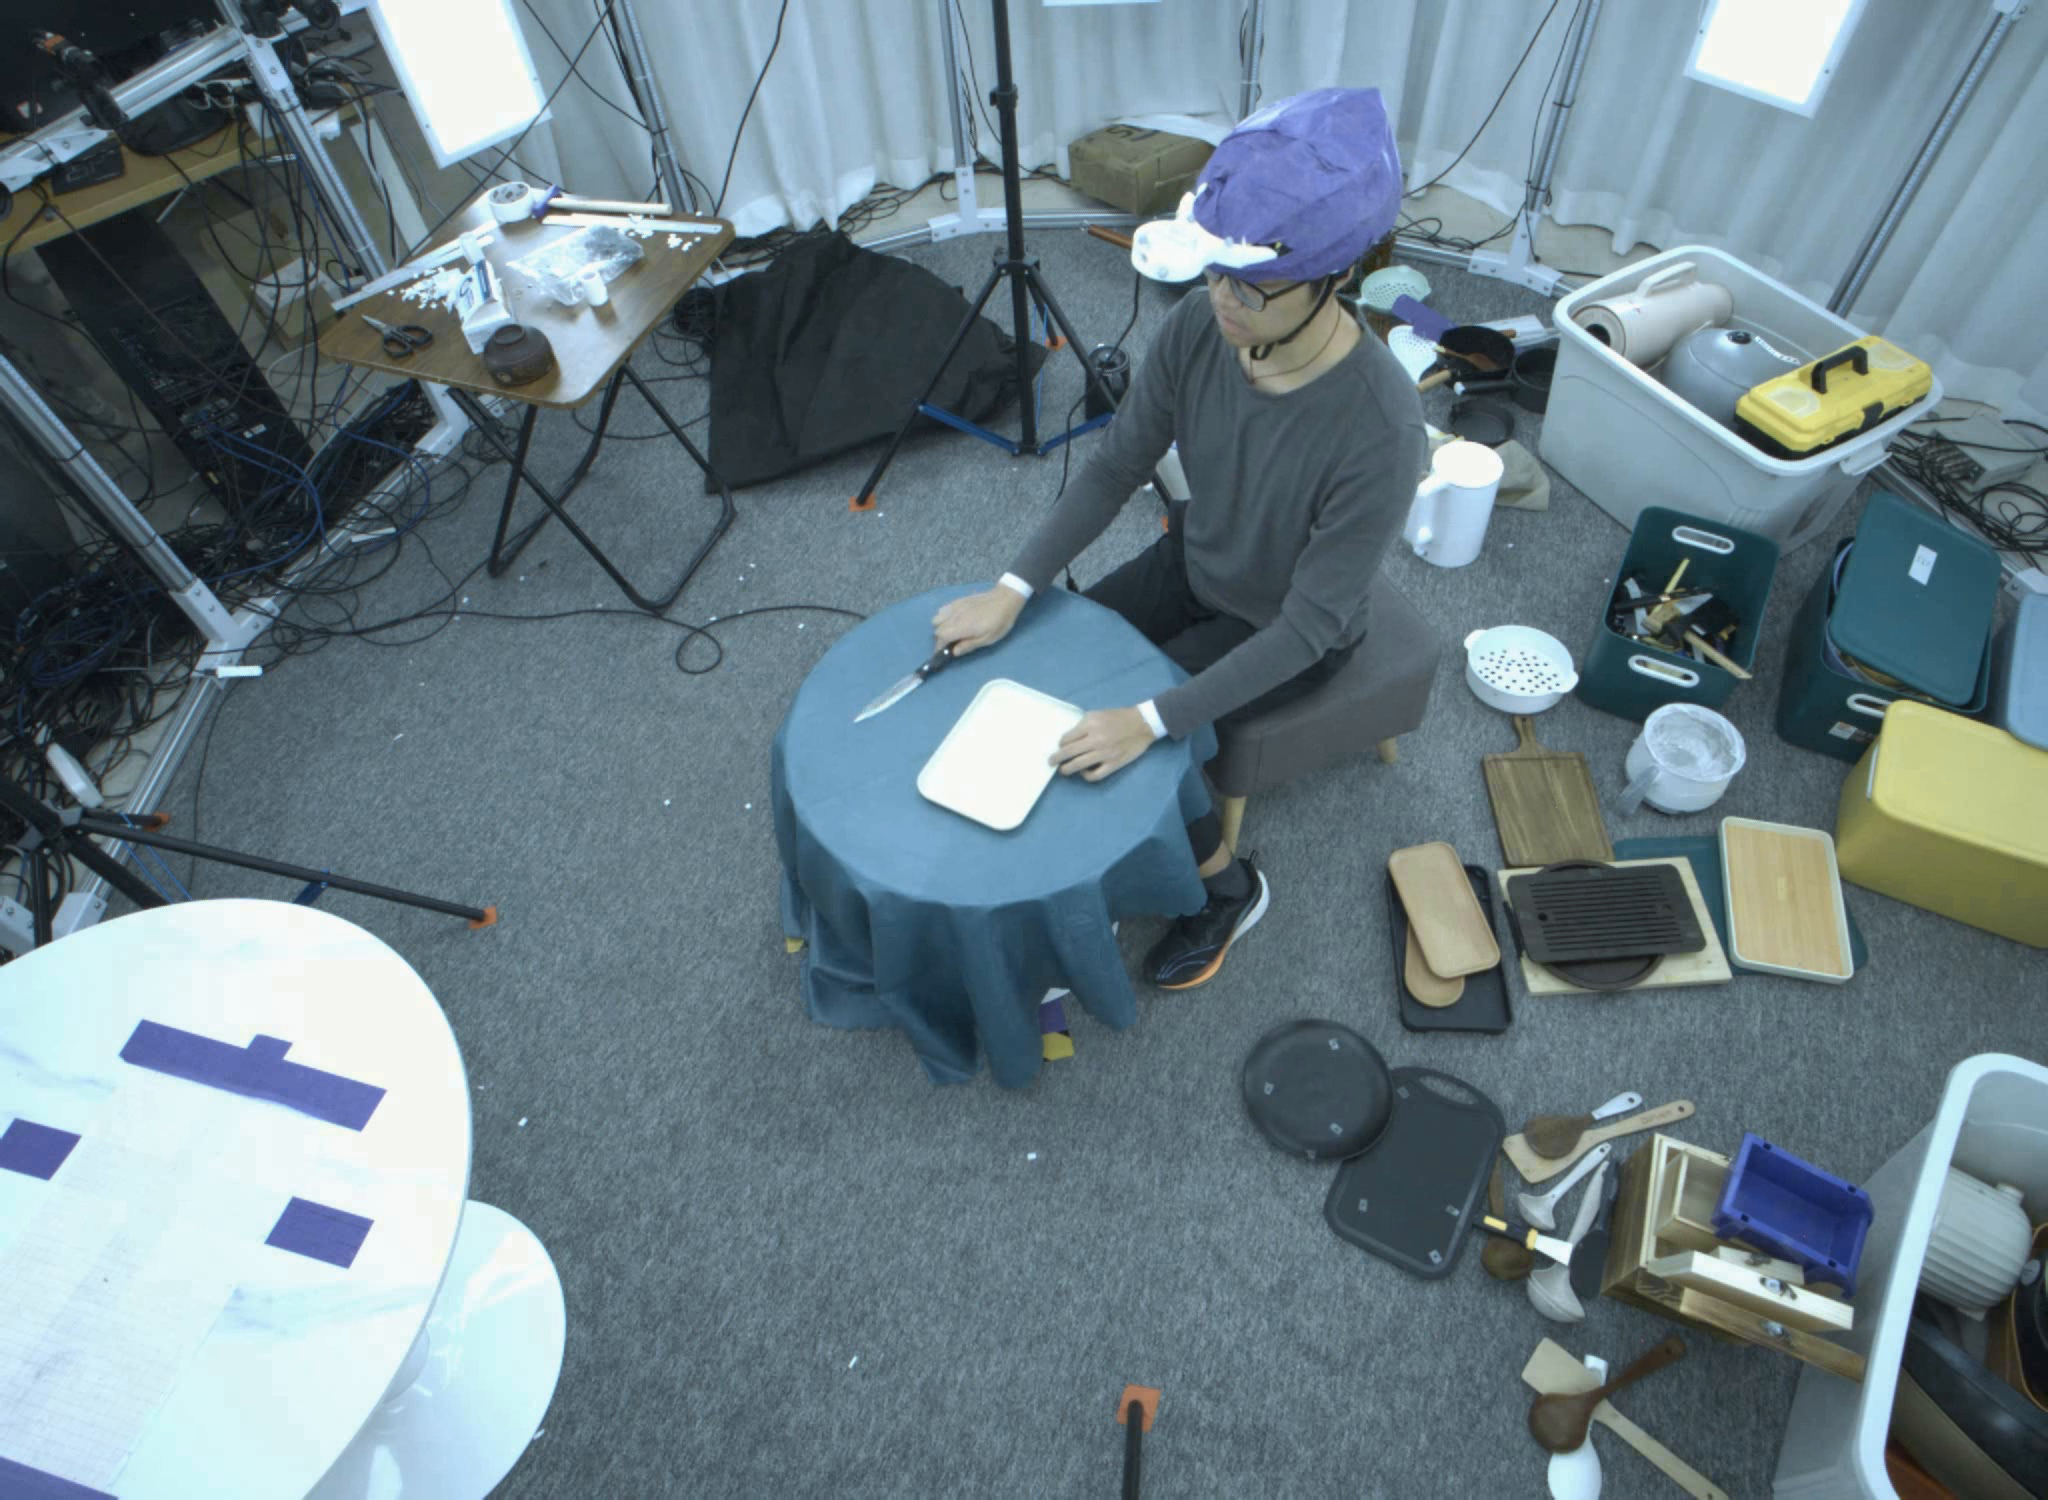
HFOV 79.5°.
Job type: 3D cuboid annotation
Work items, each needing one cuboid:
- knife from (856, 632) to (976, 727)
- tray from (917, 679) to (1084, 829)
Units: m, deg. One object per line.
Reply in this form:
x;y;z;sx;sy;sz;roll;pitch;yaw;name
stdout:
-0.167;-0.110;1.868;0.239;0.016;0.024;-40;81;-20;knife
-0.032;0.003;1.783;0.169;0.017;0.240;23;58;18;tray
